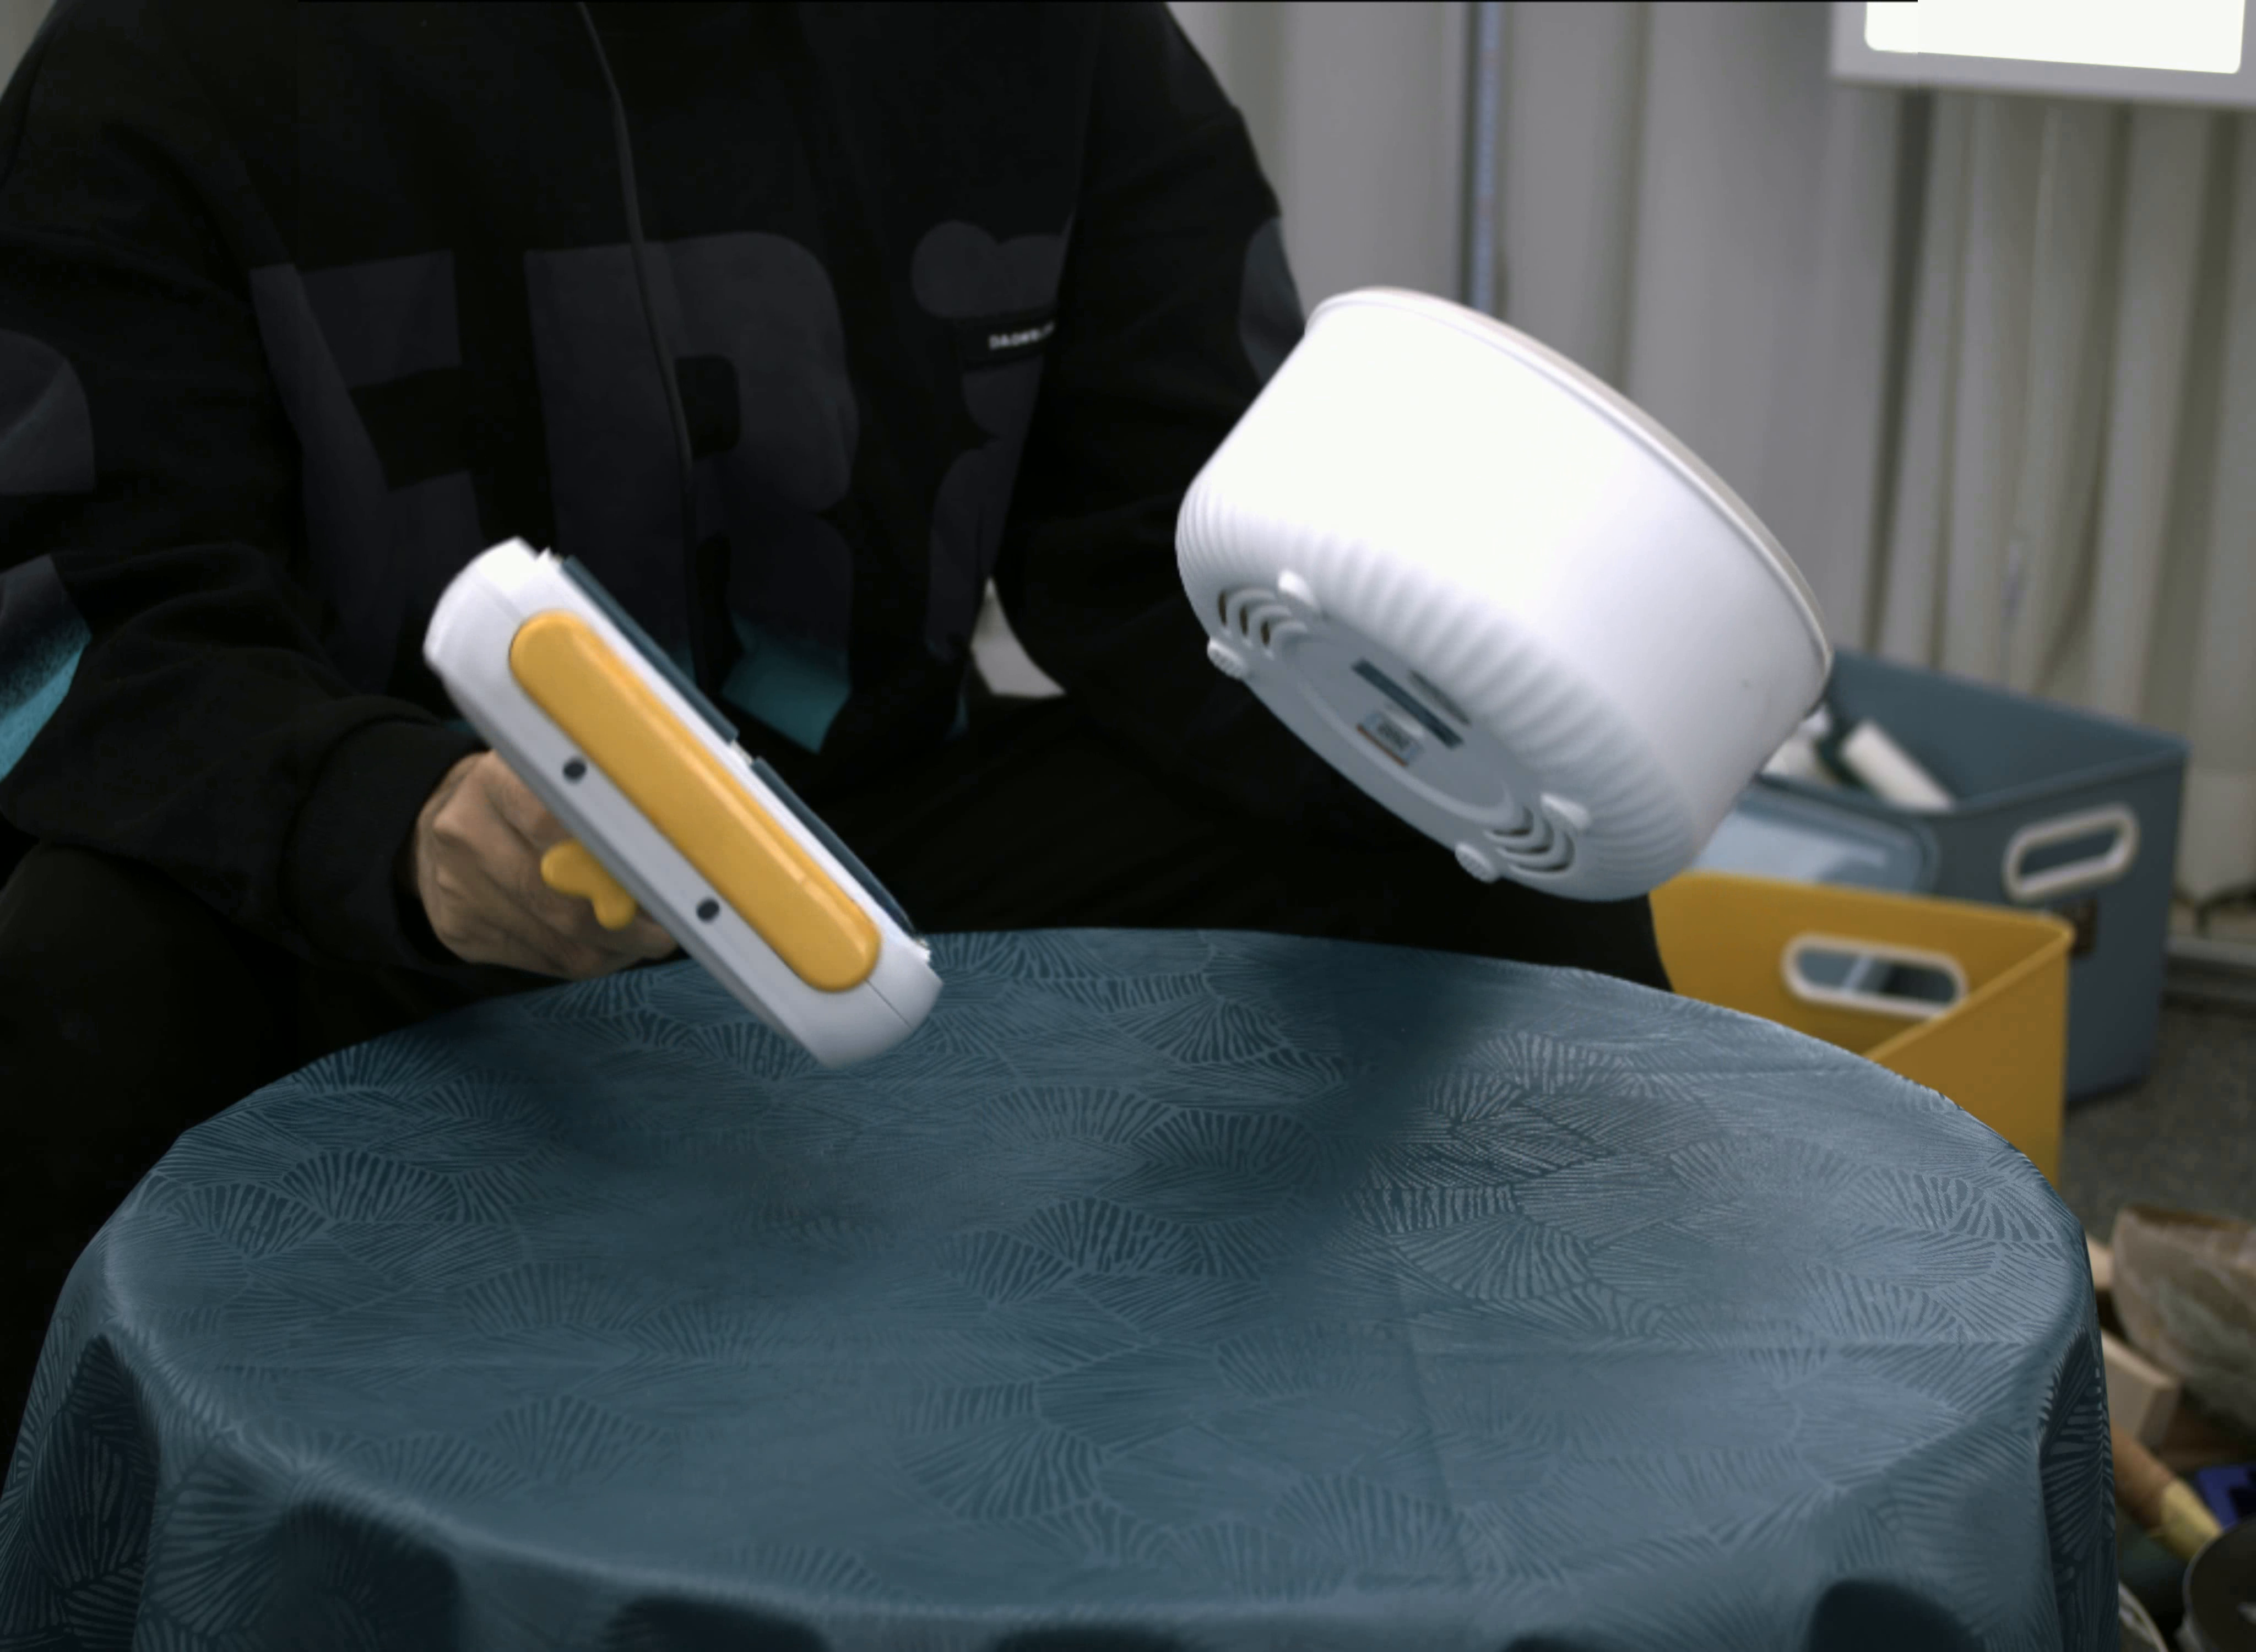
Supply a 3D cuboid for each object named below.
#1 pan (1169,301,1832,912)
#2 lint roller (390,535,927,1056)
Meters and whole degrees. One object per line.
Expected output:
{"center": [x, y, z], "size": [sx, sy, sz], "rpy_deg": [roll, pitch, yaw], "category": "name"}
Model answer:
{"center": [0.092, -0.047, 1.702], "size": [0.201, 0.102, 0.354], "rpy_deg": [37, -15, -5], "category": "pan"}
{"center": [-0.154, 0.003, 1.627], "size": [0.193, 0.074, 0.192], "rpy_deg": [40, -11, -4], "category": "lint roller"}
